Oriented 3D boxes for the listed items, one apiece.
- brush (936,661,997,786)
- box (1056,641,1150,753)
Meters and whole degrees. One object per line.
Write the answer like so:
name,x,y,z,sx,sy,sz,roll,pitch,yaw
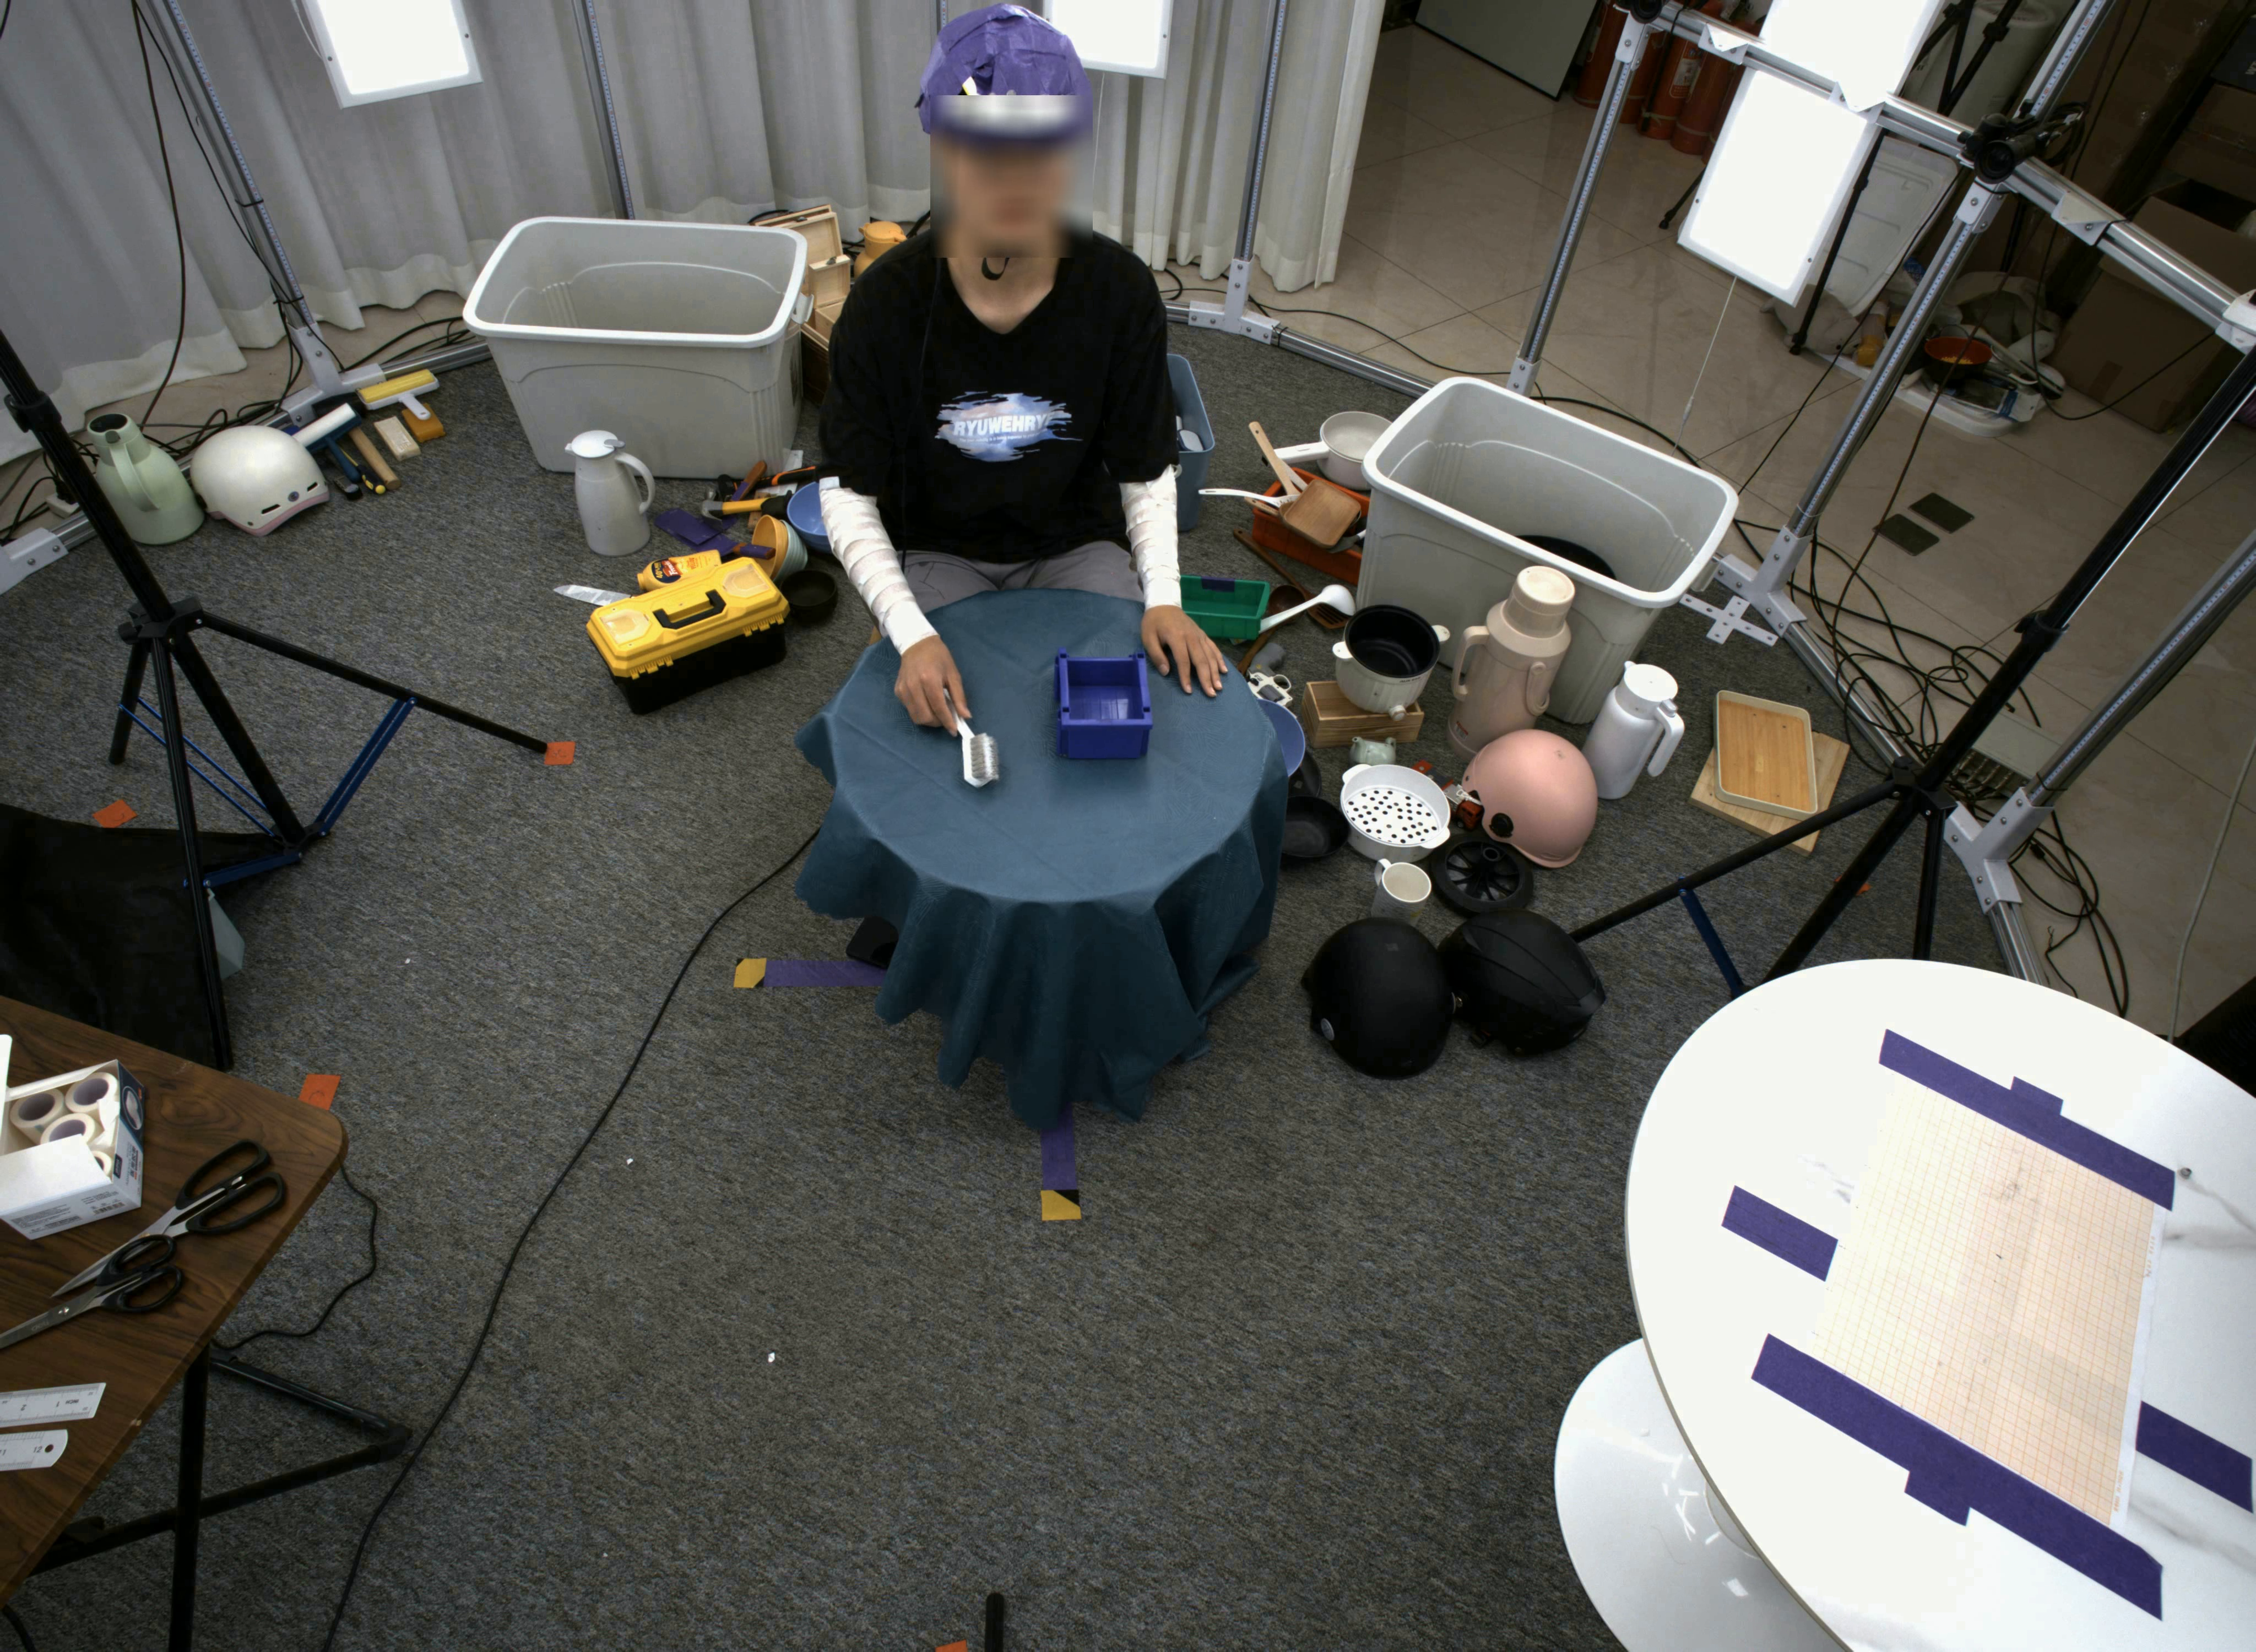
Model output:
brush,-0.220,-0.153,1.756,0.034,0.049,0.249,23,36,-41
box,-0.038,-0.186,1.779,0.124,0.080,0.184,0,51,-3
